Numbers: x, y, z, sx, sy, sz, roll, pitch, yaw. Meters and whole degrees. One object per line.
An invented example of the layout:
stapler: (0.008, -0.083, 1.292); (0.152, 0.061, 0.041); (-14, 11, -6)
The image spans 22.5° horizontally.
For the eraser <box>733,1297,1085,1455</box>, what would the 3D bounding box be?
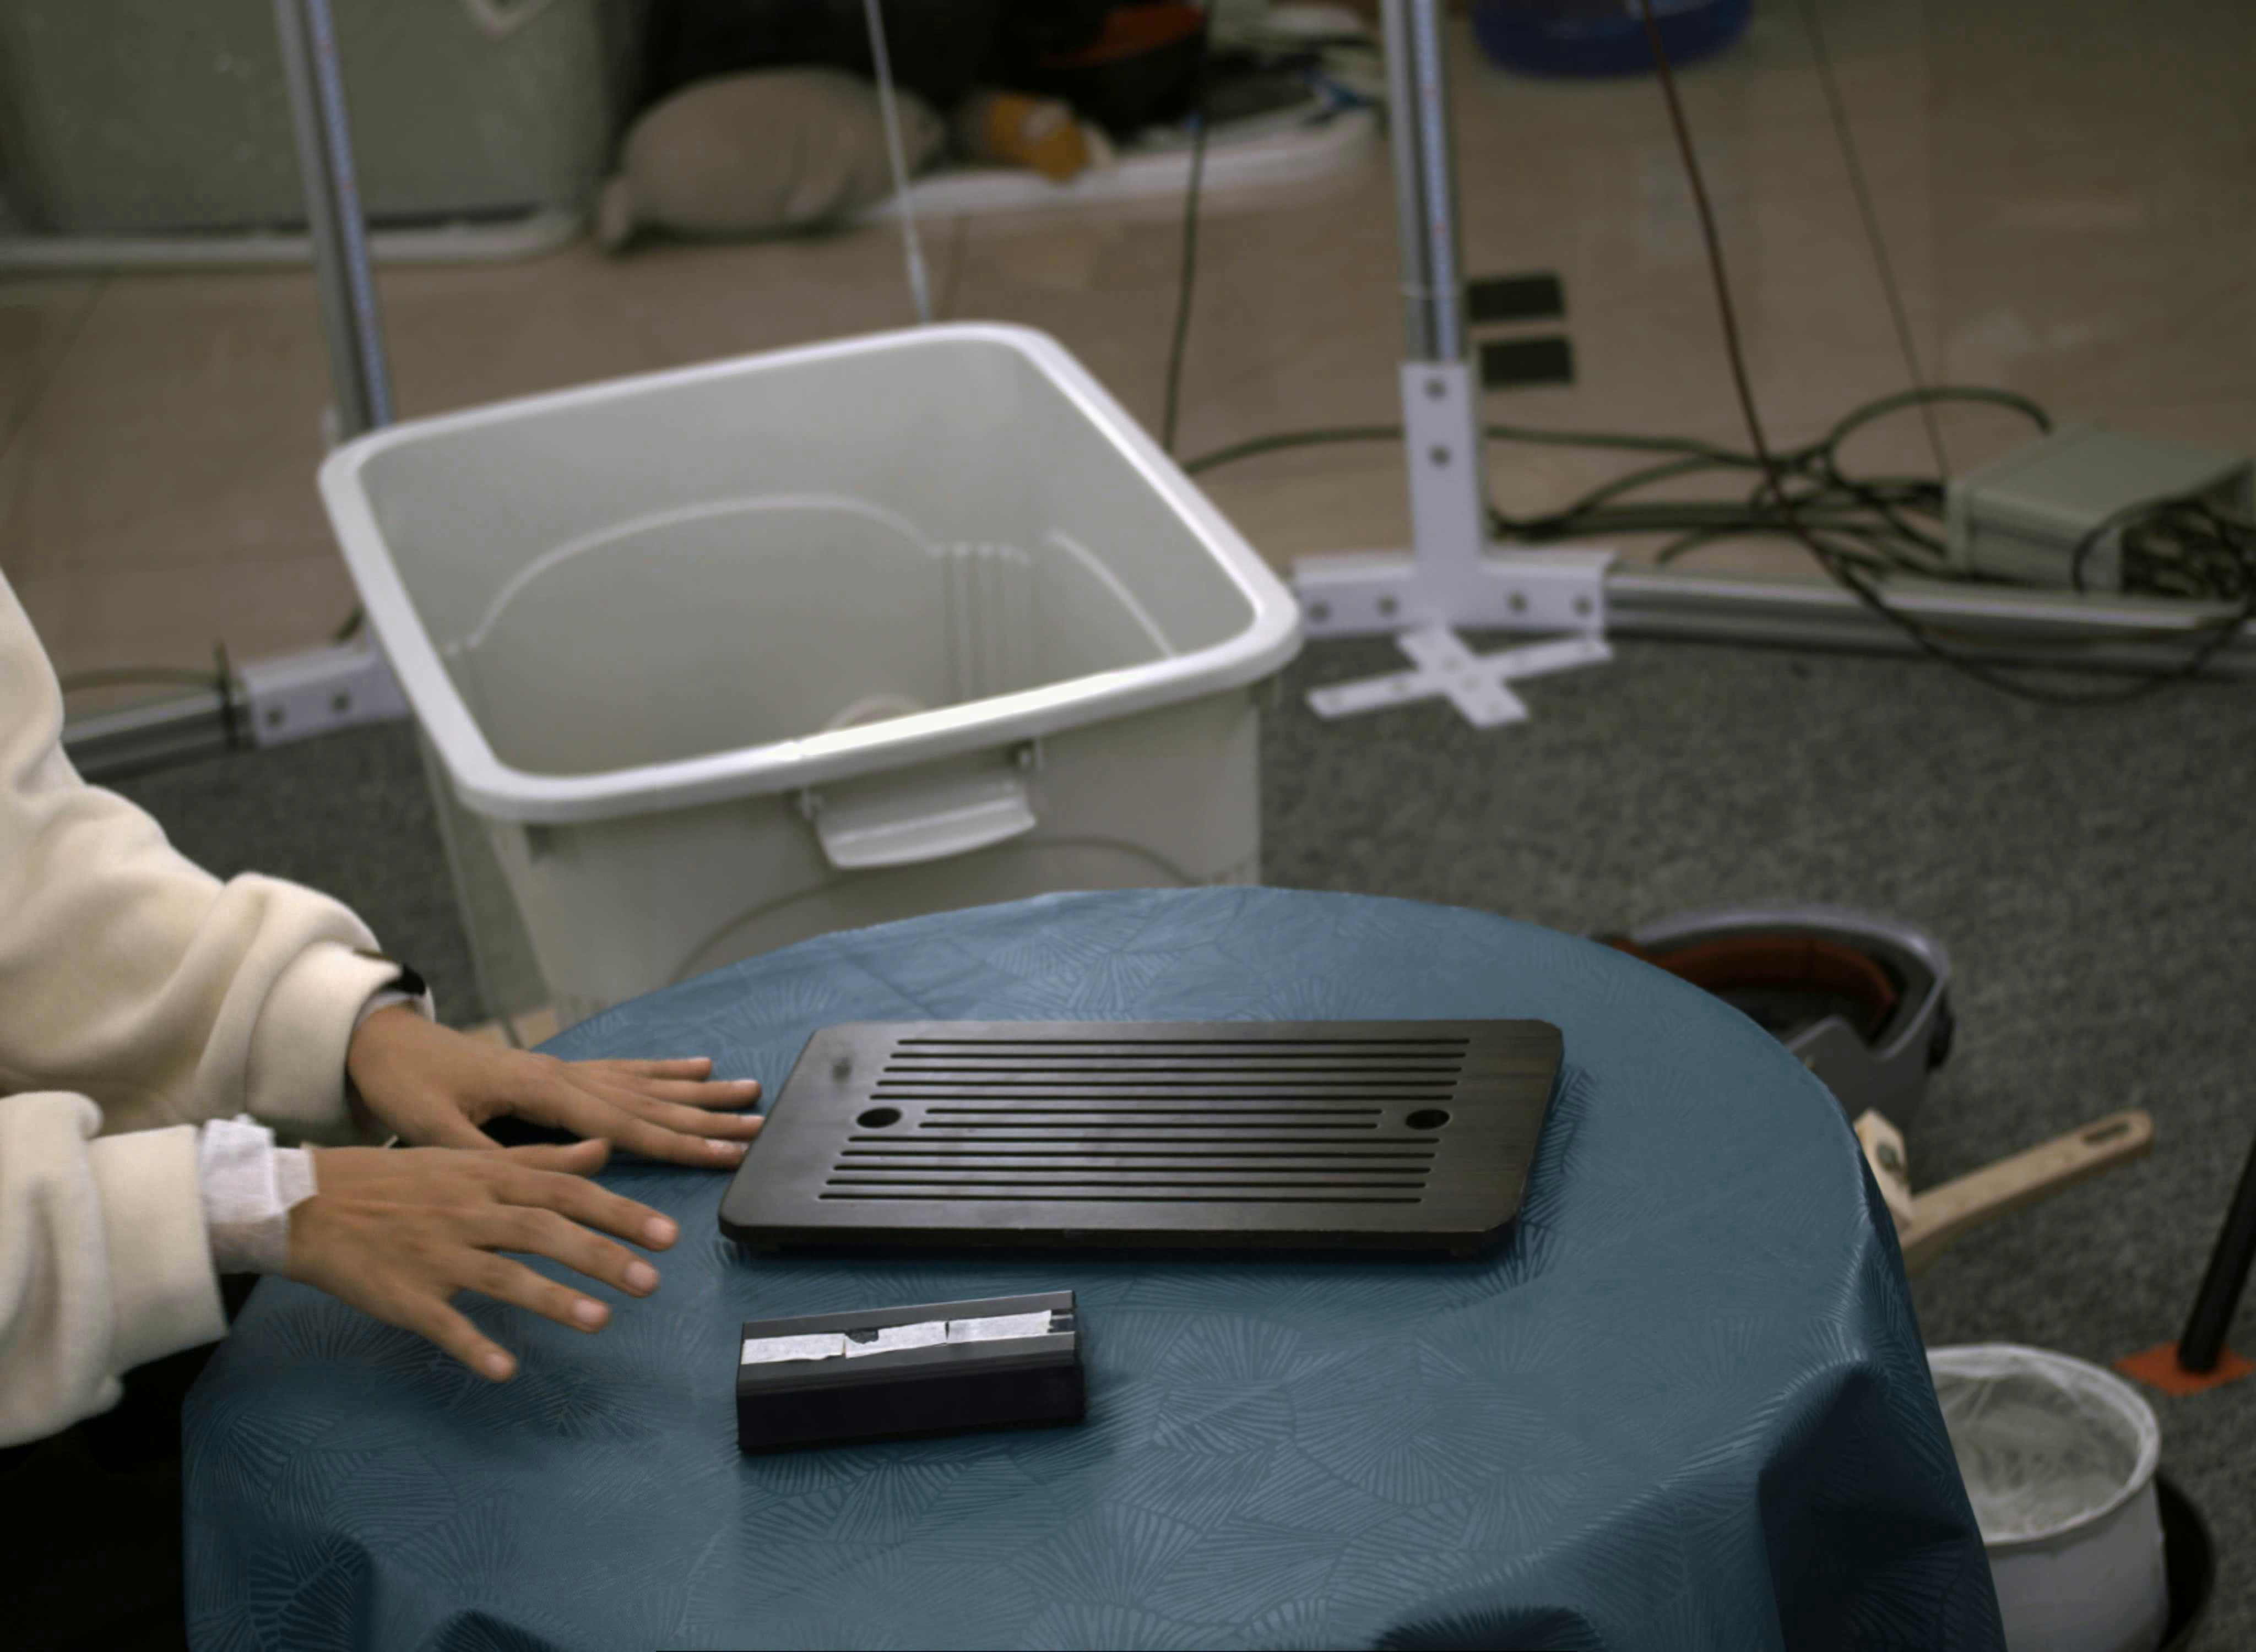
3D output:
eraser: (-0.076, 0.195, 2.015); (0.125, 0.031, 0.053); (-6, 22, 2)

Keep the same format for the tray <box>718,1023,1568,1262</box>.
tray: (0.008, 0.121, 2.163); (0.305, 0.019, 0.167); (0, 25, 13)
